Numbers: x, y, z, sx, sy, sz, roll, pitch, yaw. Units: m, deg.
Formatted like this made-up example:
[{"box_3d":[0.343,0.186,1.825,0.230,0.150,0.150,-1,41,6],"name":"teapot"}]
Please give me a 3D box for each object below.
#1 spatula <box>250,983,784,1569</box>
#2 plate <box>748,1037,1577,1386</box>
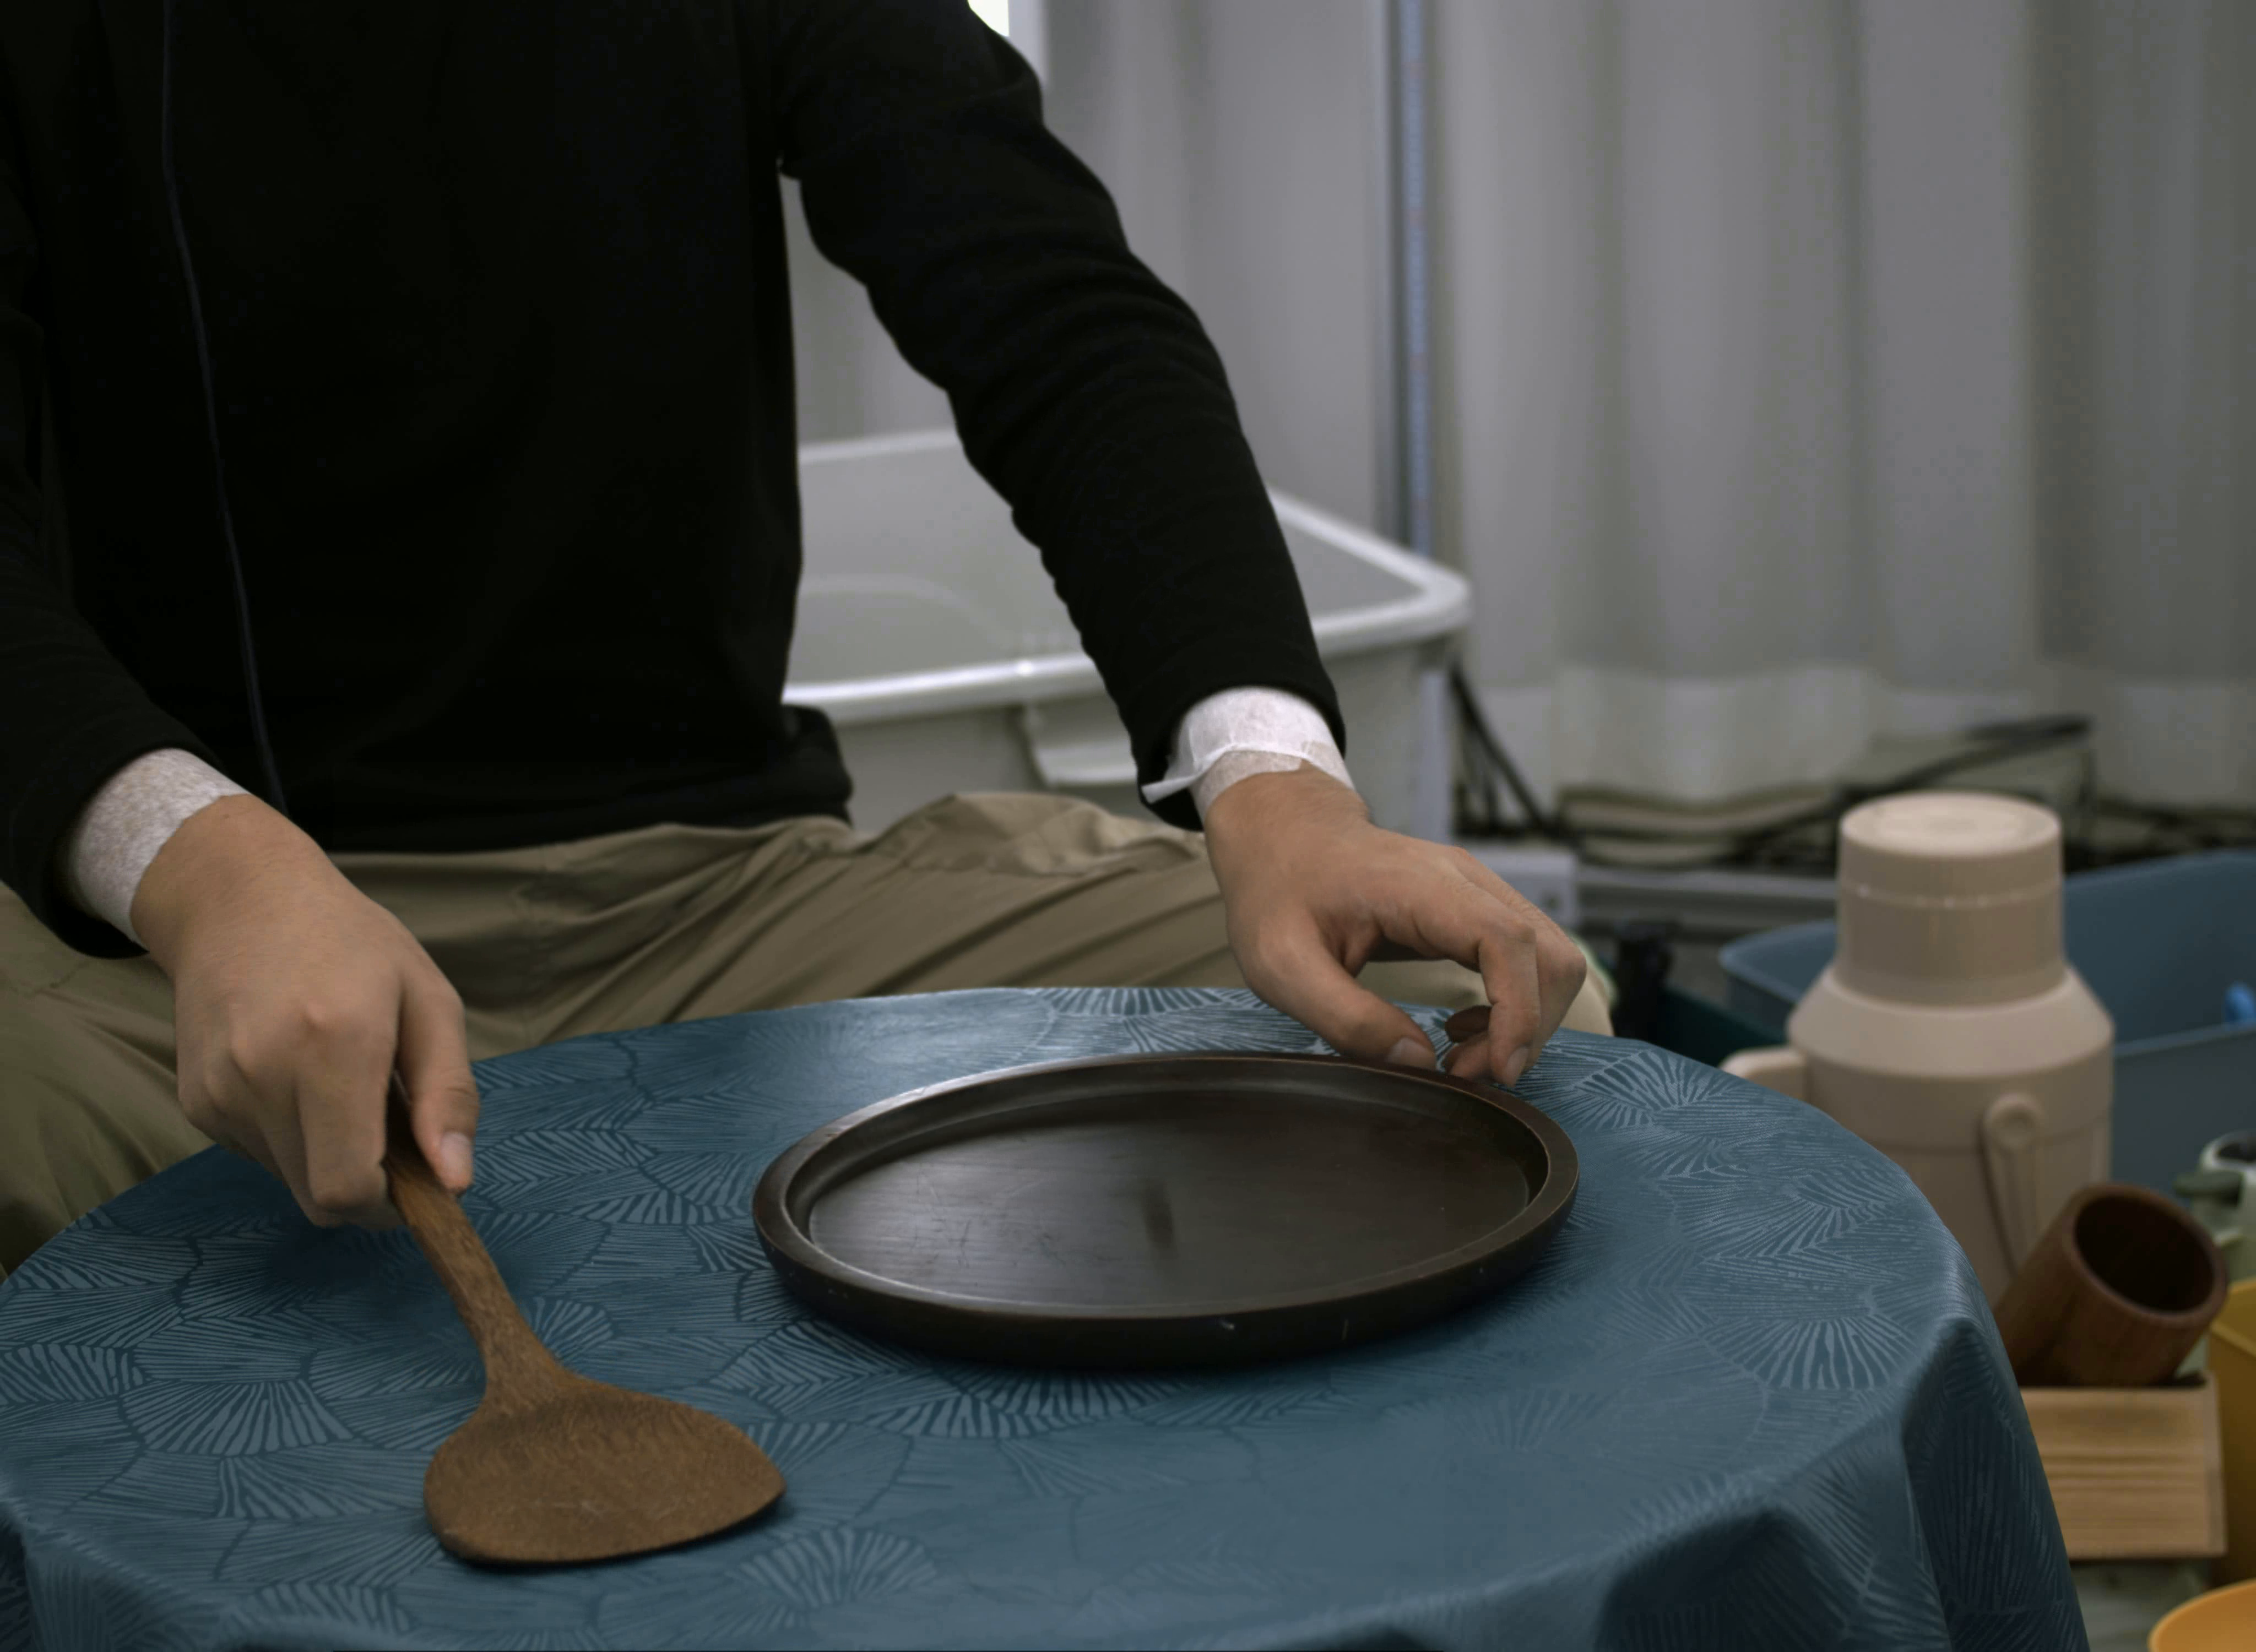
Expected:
[{"box_3d":[-0.201,0.122,1.607,0.095,0.015,0.390,-8,25,-21],"name":"spatula"},{"box_3d":[0.011,0.116,1.665,0.254,0.029,0.256,-3,16,1],"name":"plate"}]
